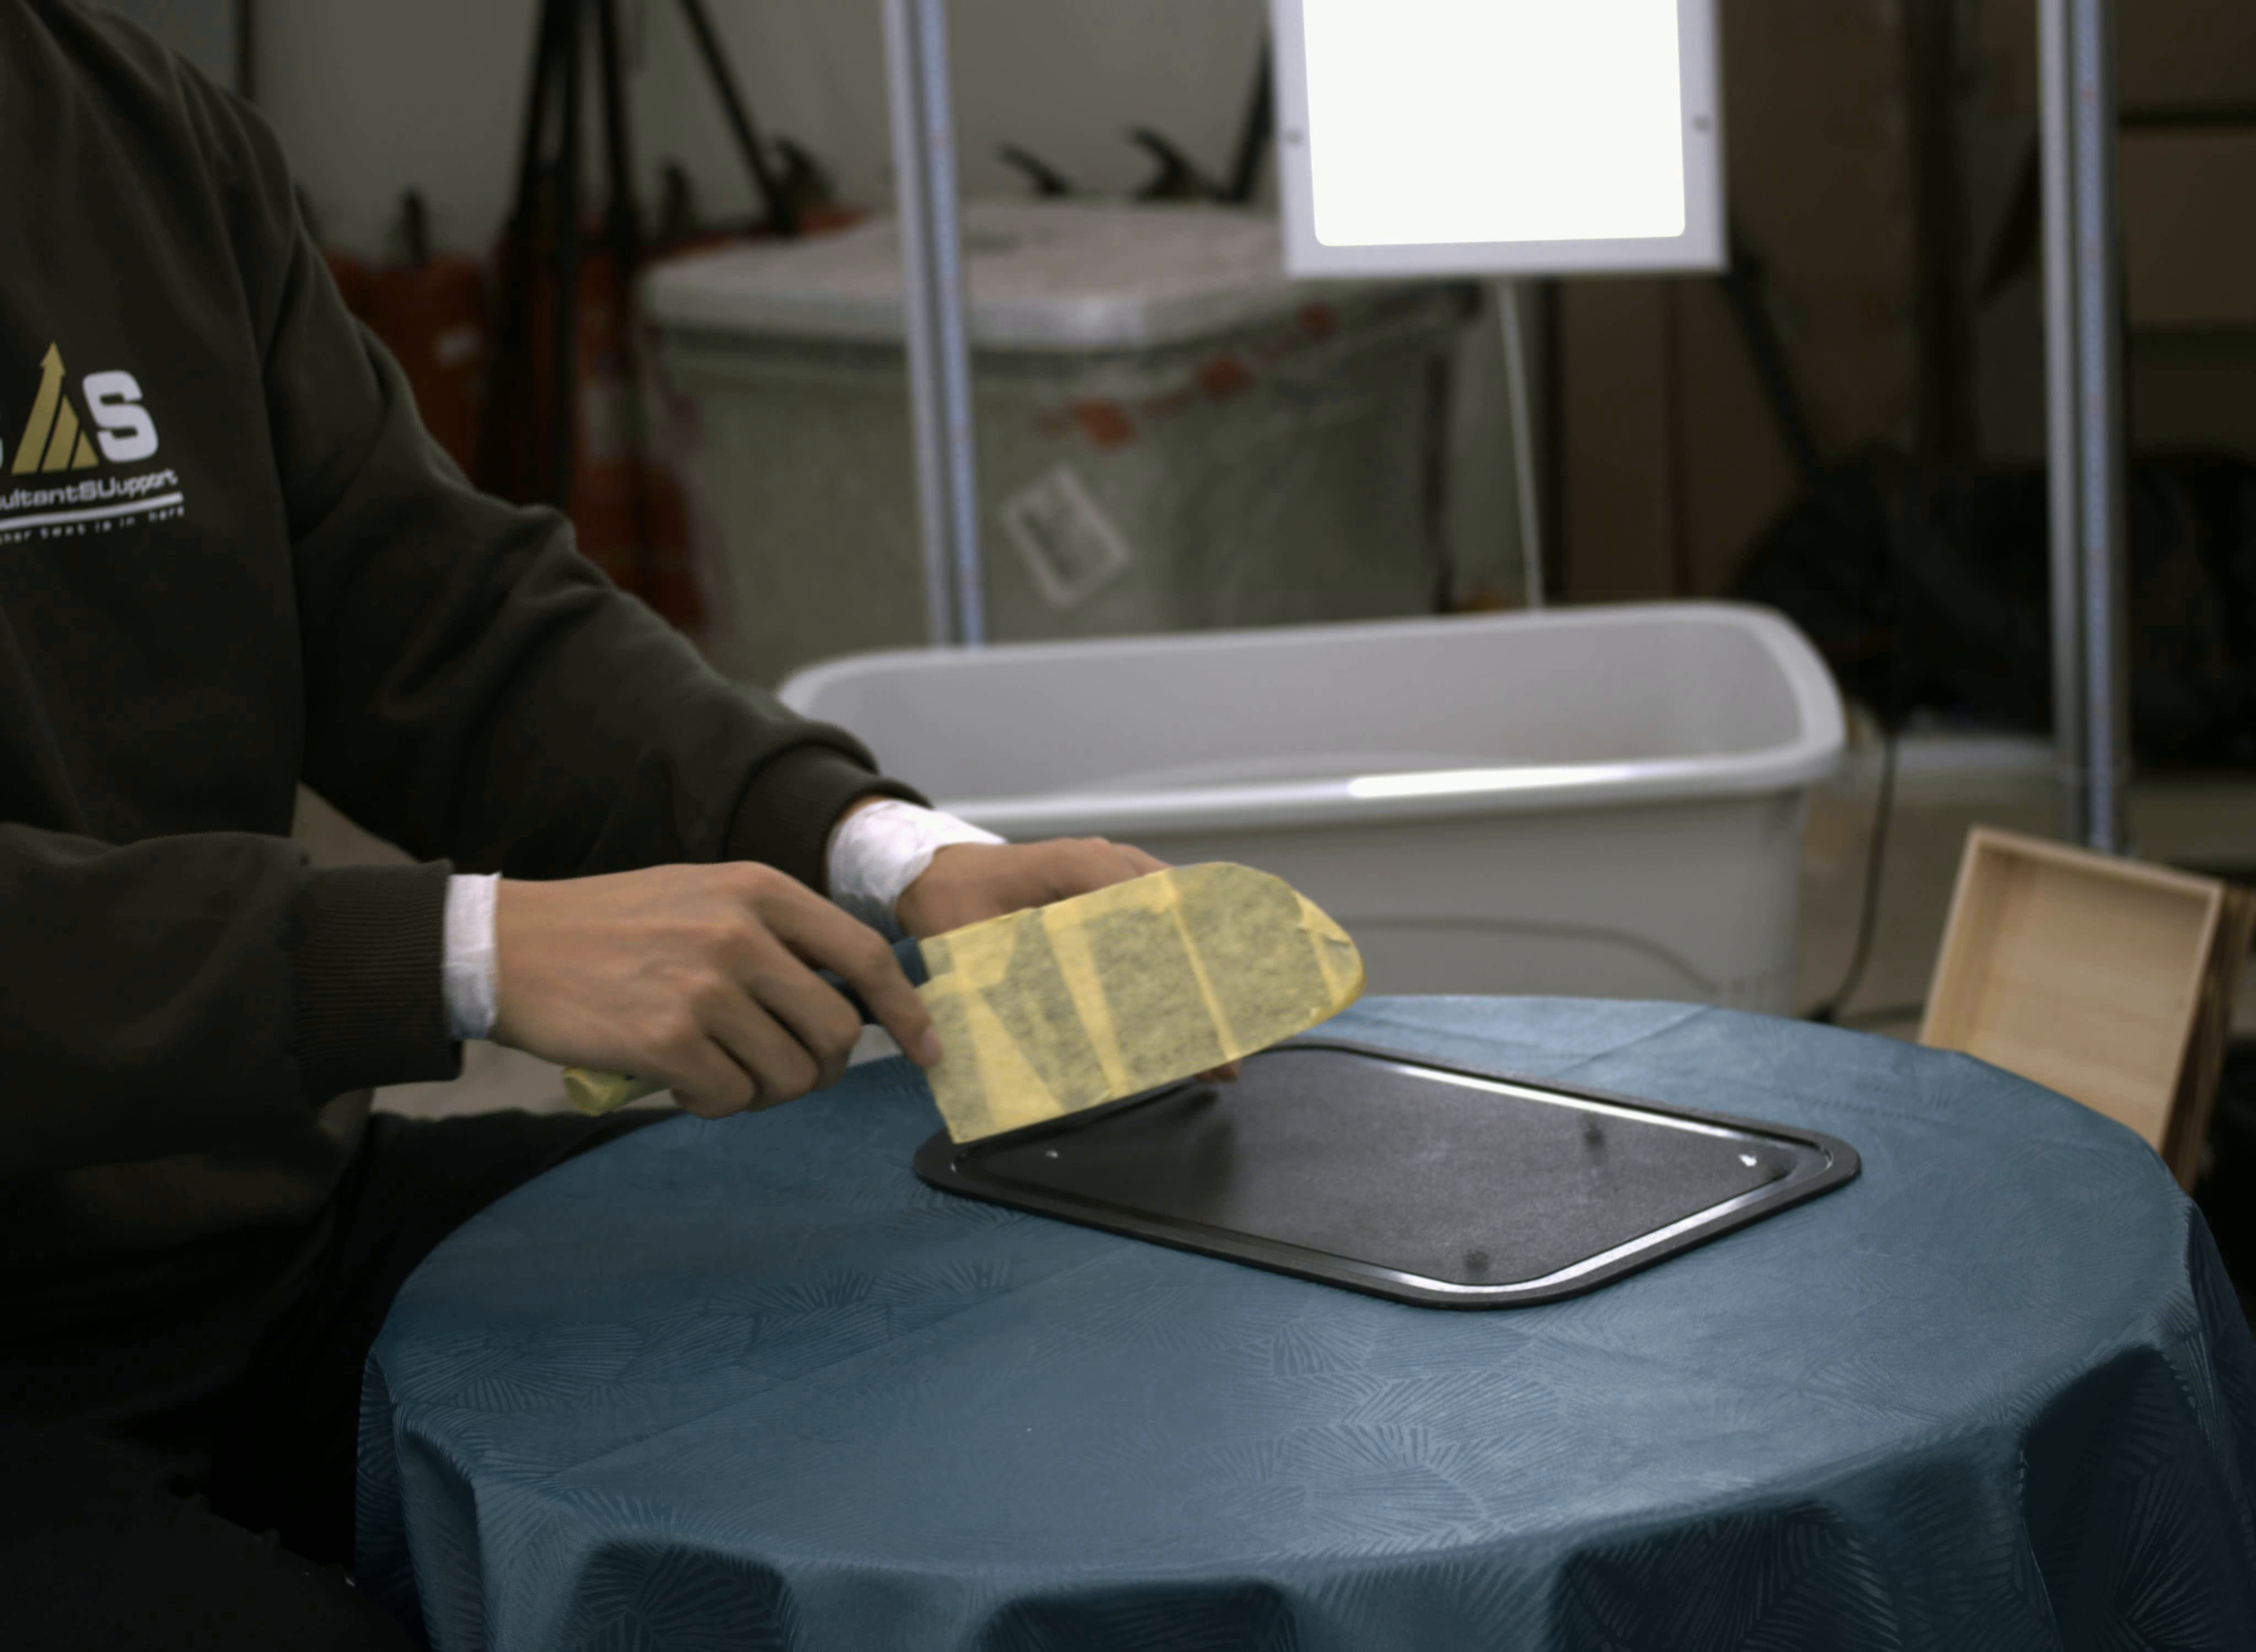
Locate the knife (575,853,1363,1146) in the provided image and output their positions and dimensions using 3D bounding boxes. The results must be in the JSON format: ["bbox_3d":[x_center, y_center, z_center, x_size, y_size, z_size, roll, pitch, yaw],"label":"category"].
[{"bbox_3d":[-0.049,0.068,1.885,0.284,0.081,0.027,-14,-17,-18],"label":"knife"}]

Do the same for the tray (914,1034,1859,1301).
[{"bbox_3d":[0.080,0.113,1.912,0.206,0.010,0.332,-17,18,-41],"label":"tray"}]
